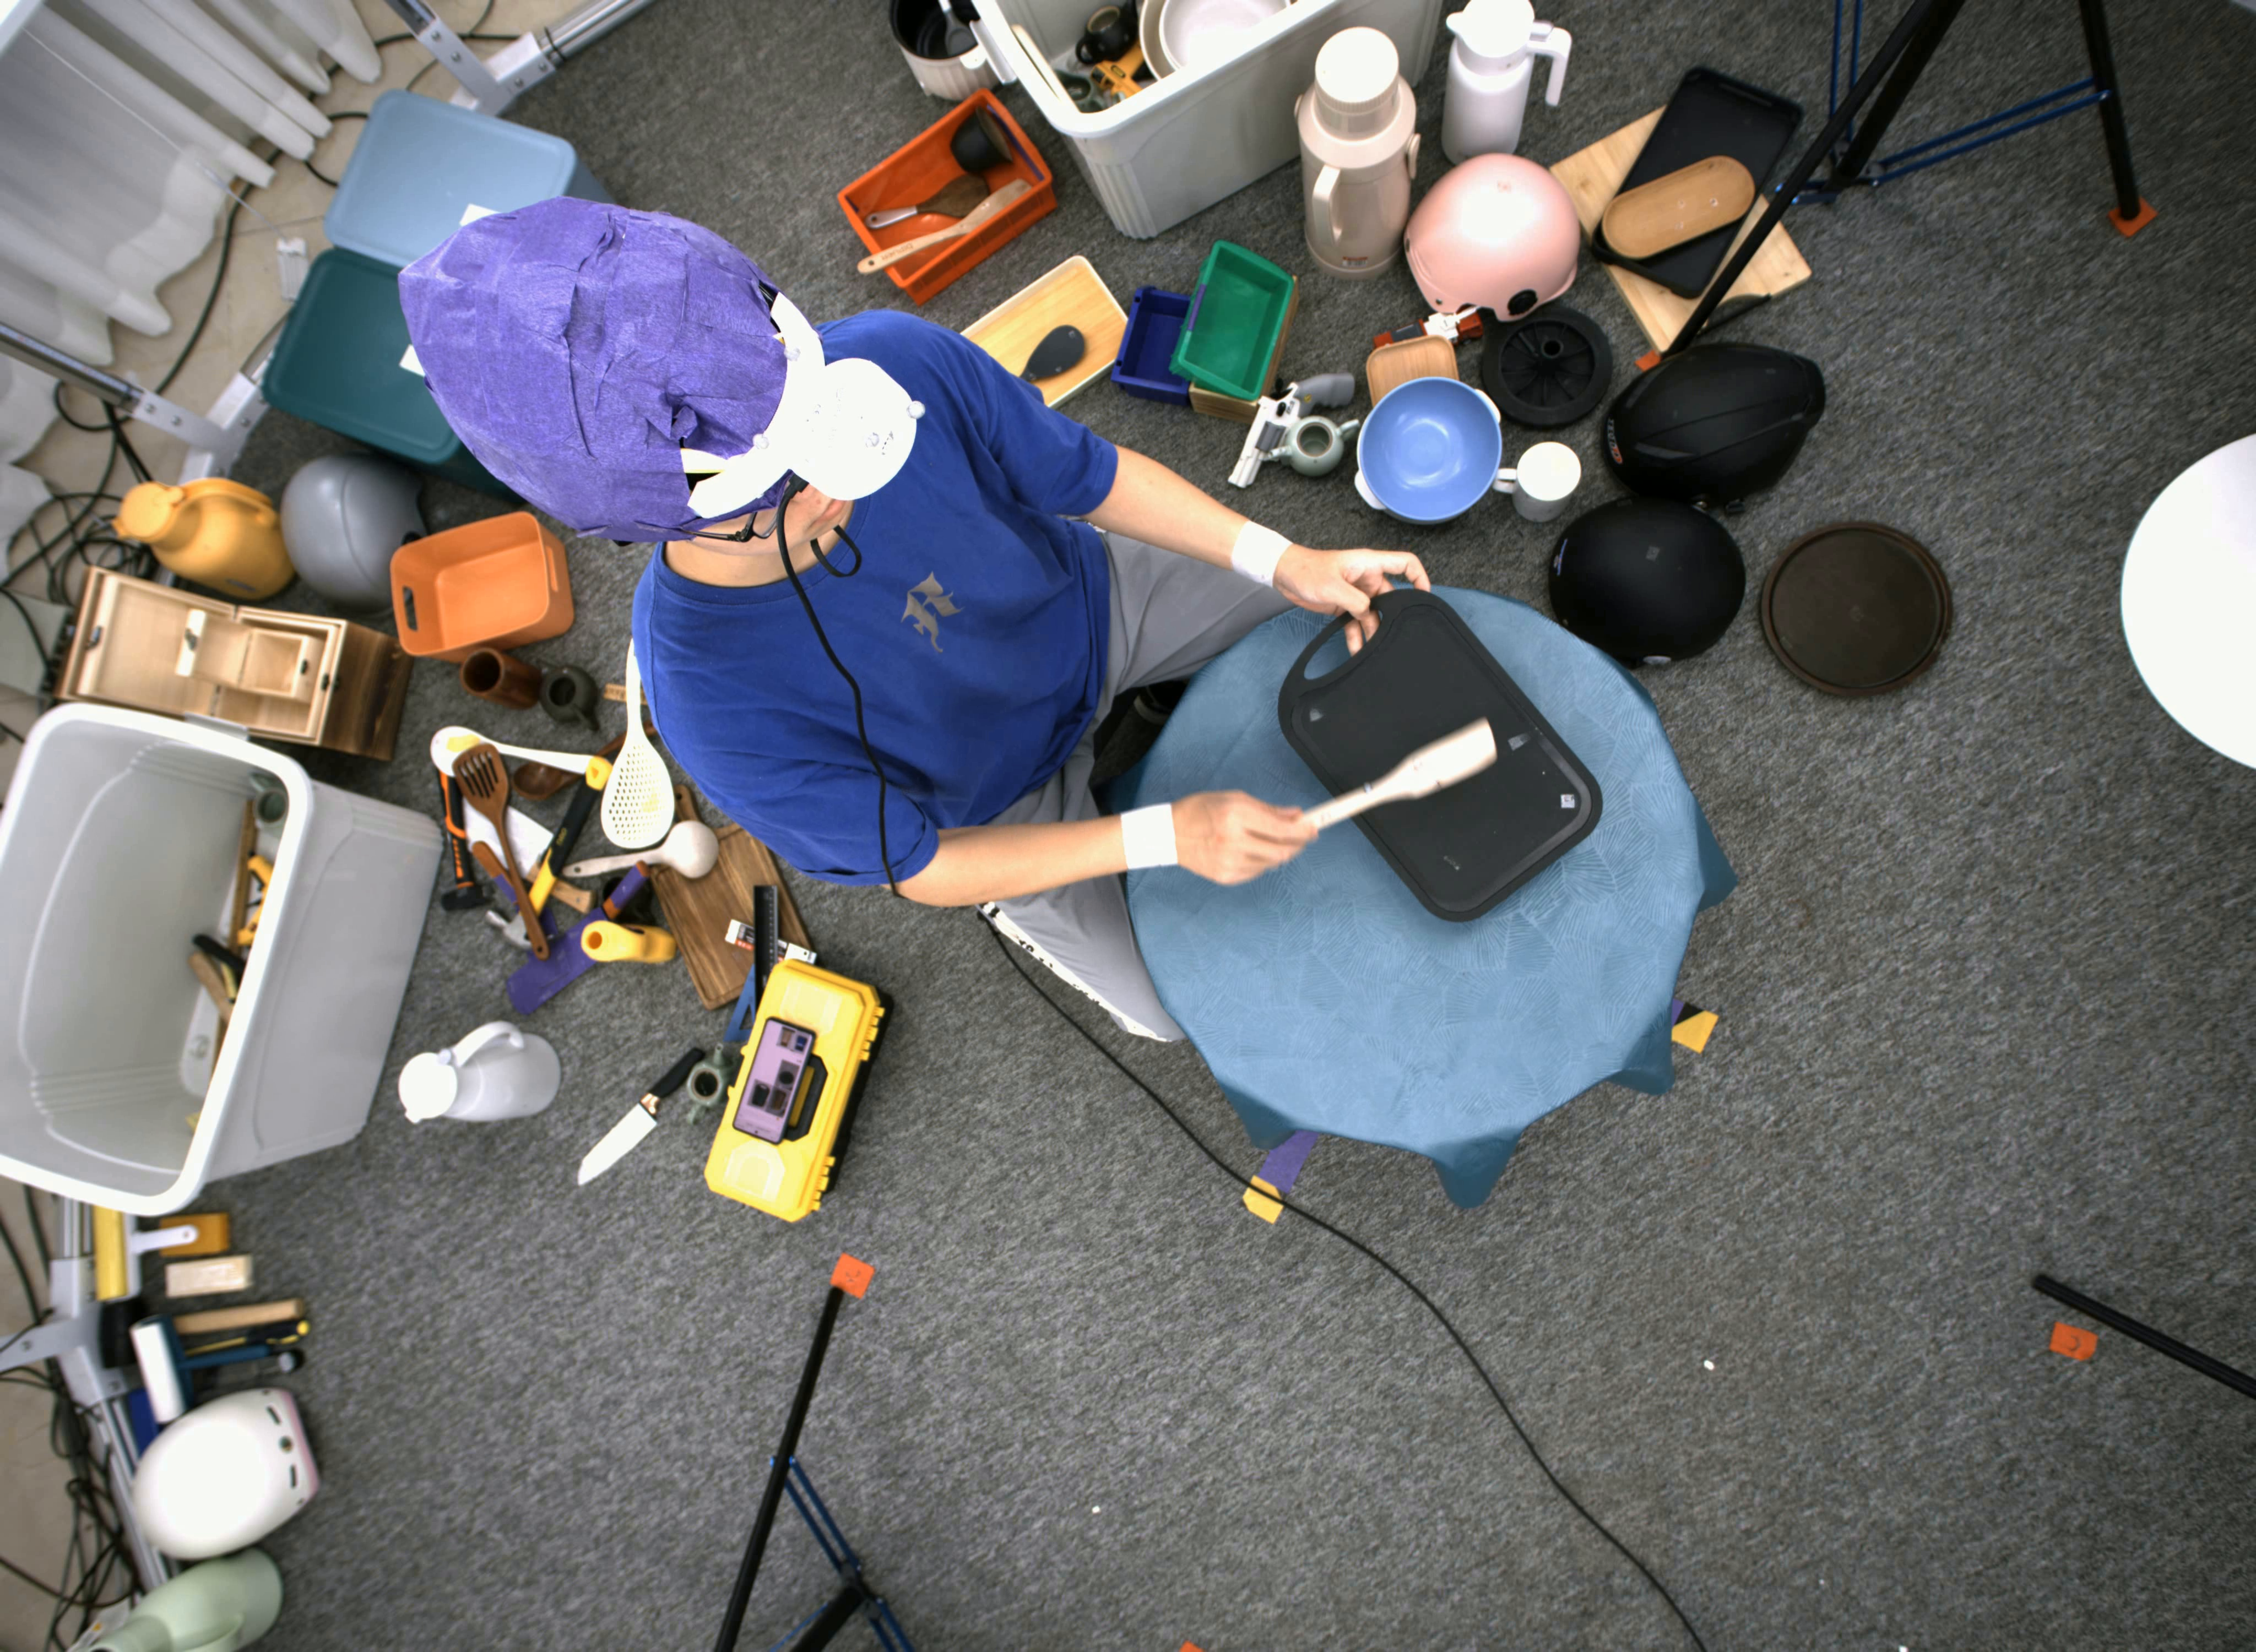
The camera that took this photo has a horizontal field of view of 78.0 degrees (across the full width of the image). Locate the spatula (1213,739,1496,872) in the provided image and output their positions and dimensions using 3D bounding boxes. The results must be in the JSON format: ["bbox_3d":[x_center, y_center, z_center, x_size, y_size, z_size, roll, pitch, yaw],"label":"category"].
[{"bbox_3d":[0.212,-0.013,1.318,0.296,0.070,0.011,-23,114,21],"label":"spatula"}]

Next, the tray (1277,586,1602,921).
[{"bbox_3d":[0.299,-0.078,1.362,0.214,0.009,0.325,-39,87,19],"label":"tray"}]
